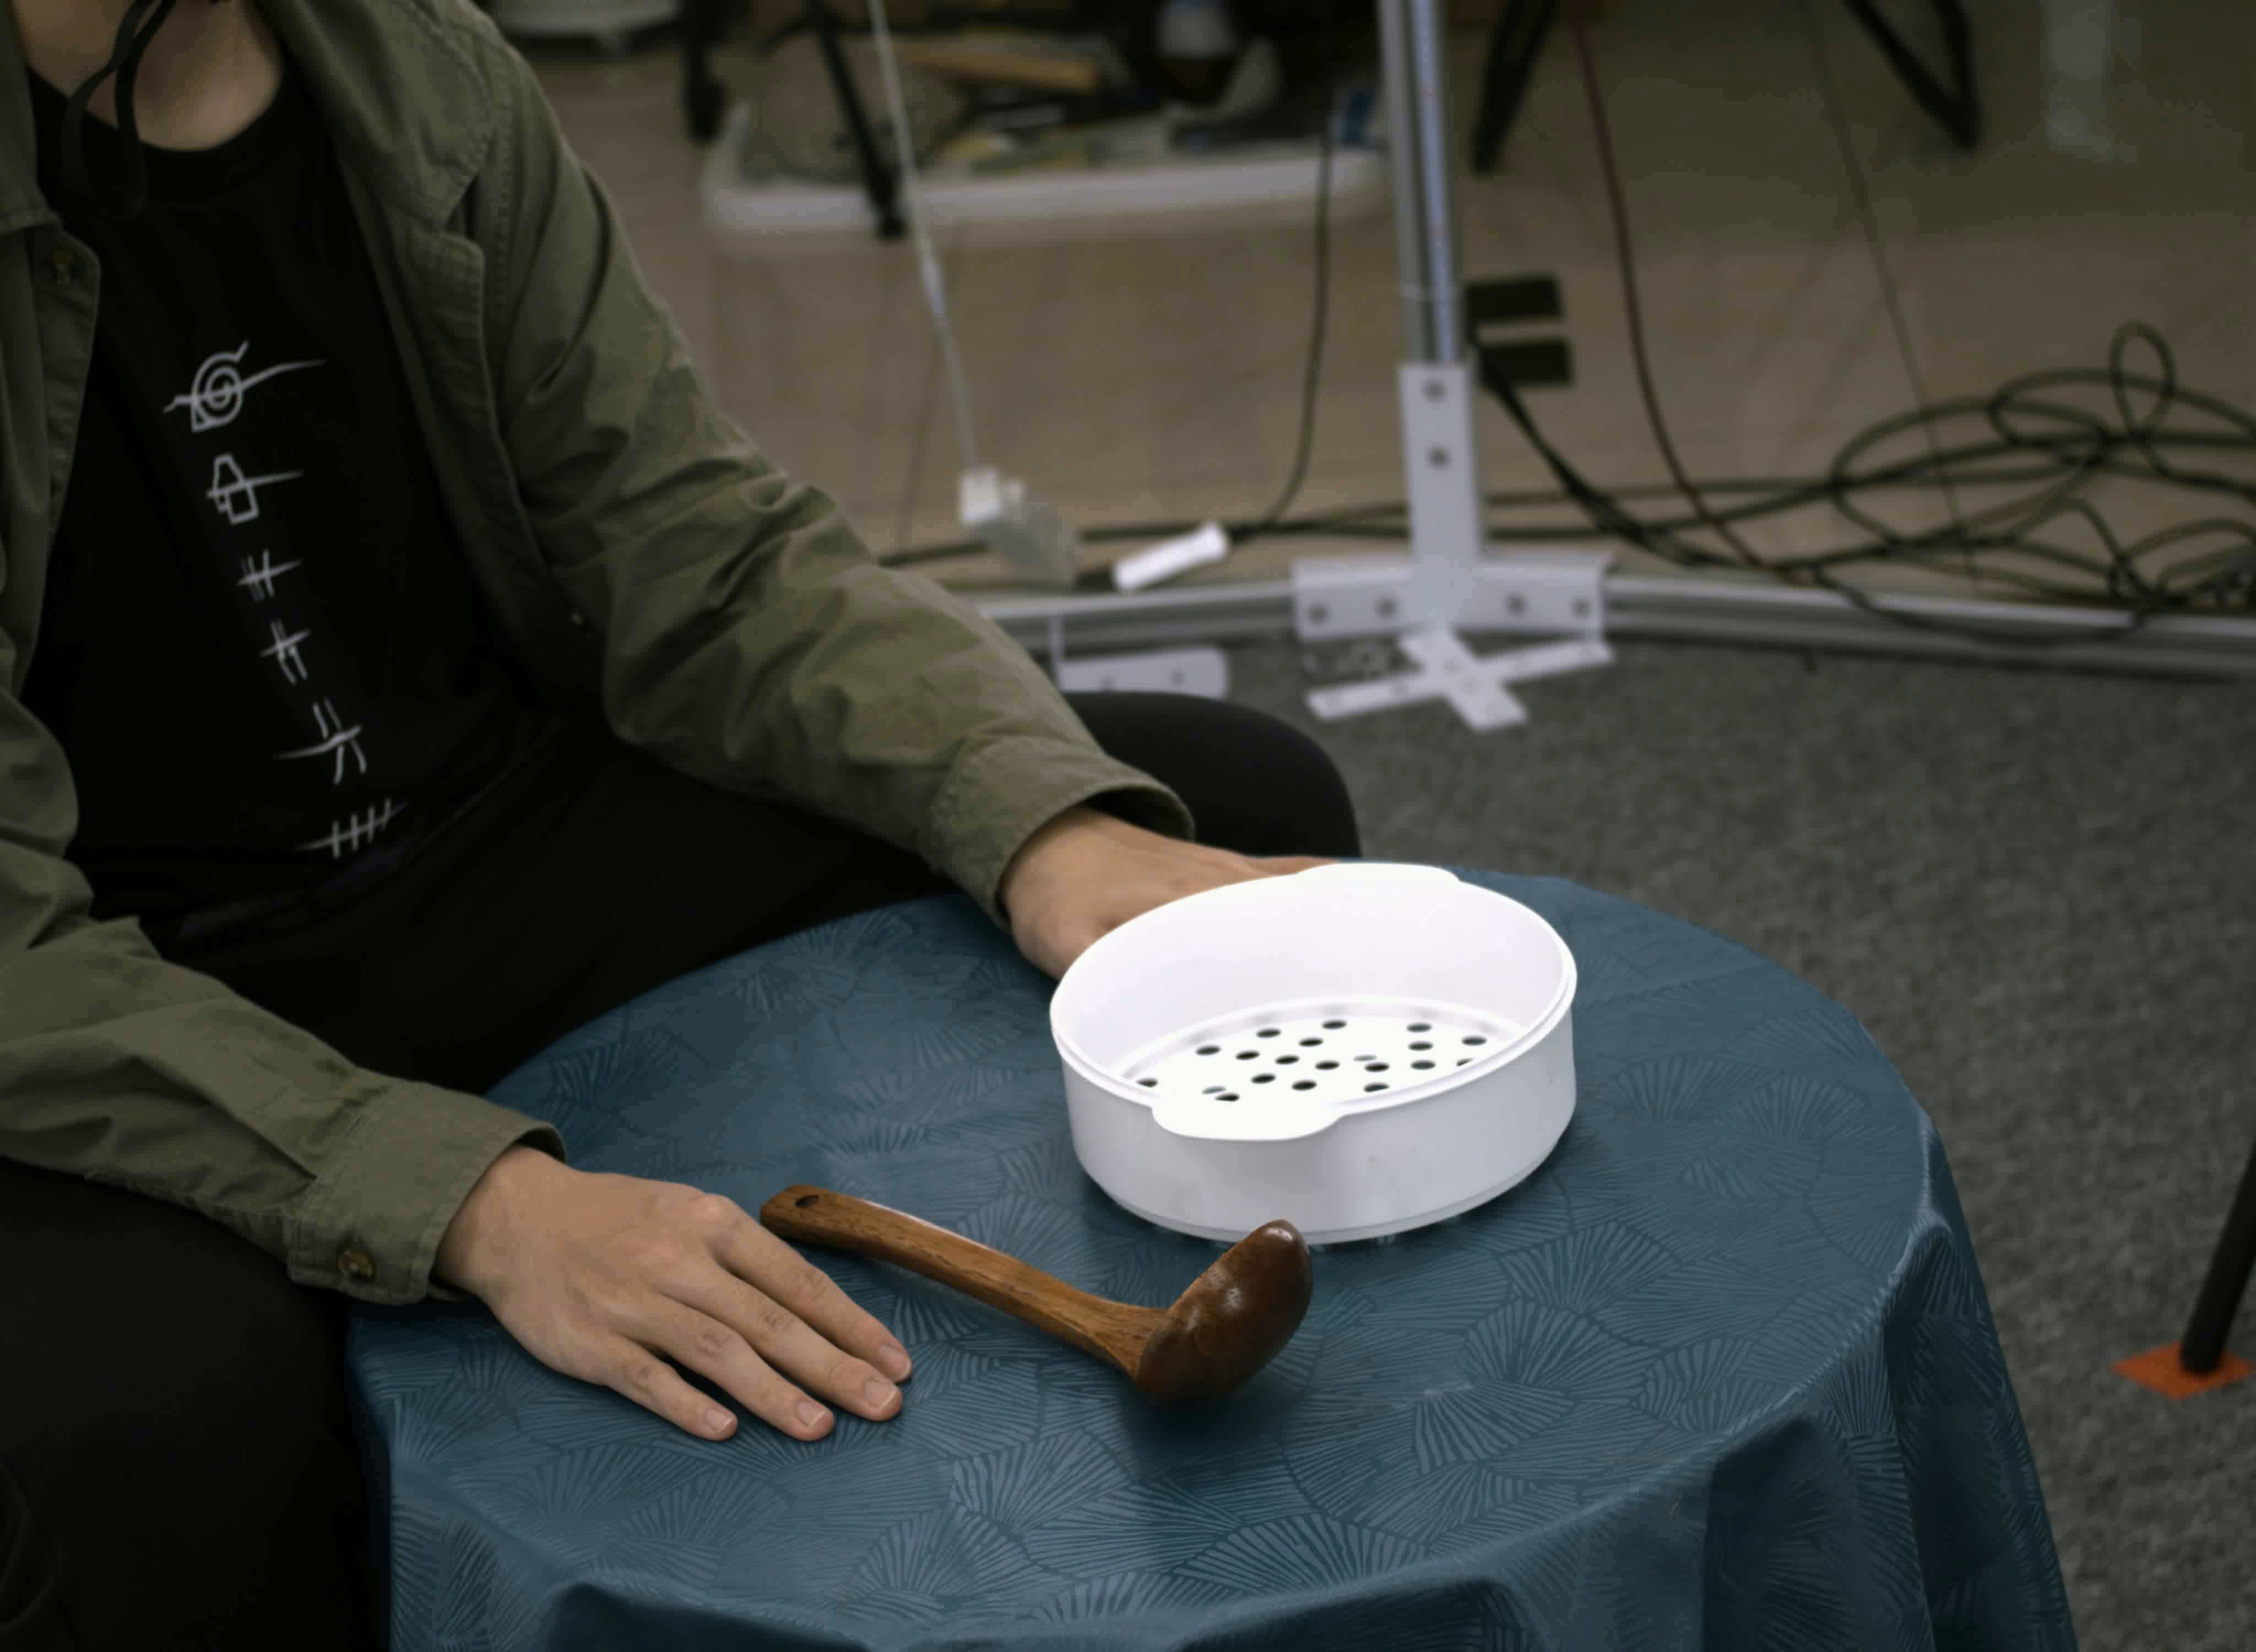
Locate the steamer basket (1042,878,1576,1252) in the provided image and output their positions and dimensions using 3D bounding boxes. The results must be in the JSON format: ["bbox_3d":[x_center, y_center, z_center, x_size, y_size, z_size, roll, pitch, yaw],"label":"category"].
[{"bbox_3d":[0.070,0.092,2.154,0.201,0.070,0.227,2,25,17],"label":"steamer basket"}]

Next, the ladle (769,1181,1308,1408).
[{"bbox_3d":[-0.044,0.148,2.053,0.272,0.078,0.081,18,40,43],"label":"ladle"}]
